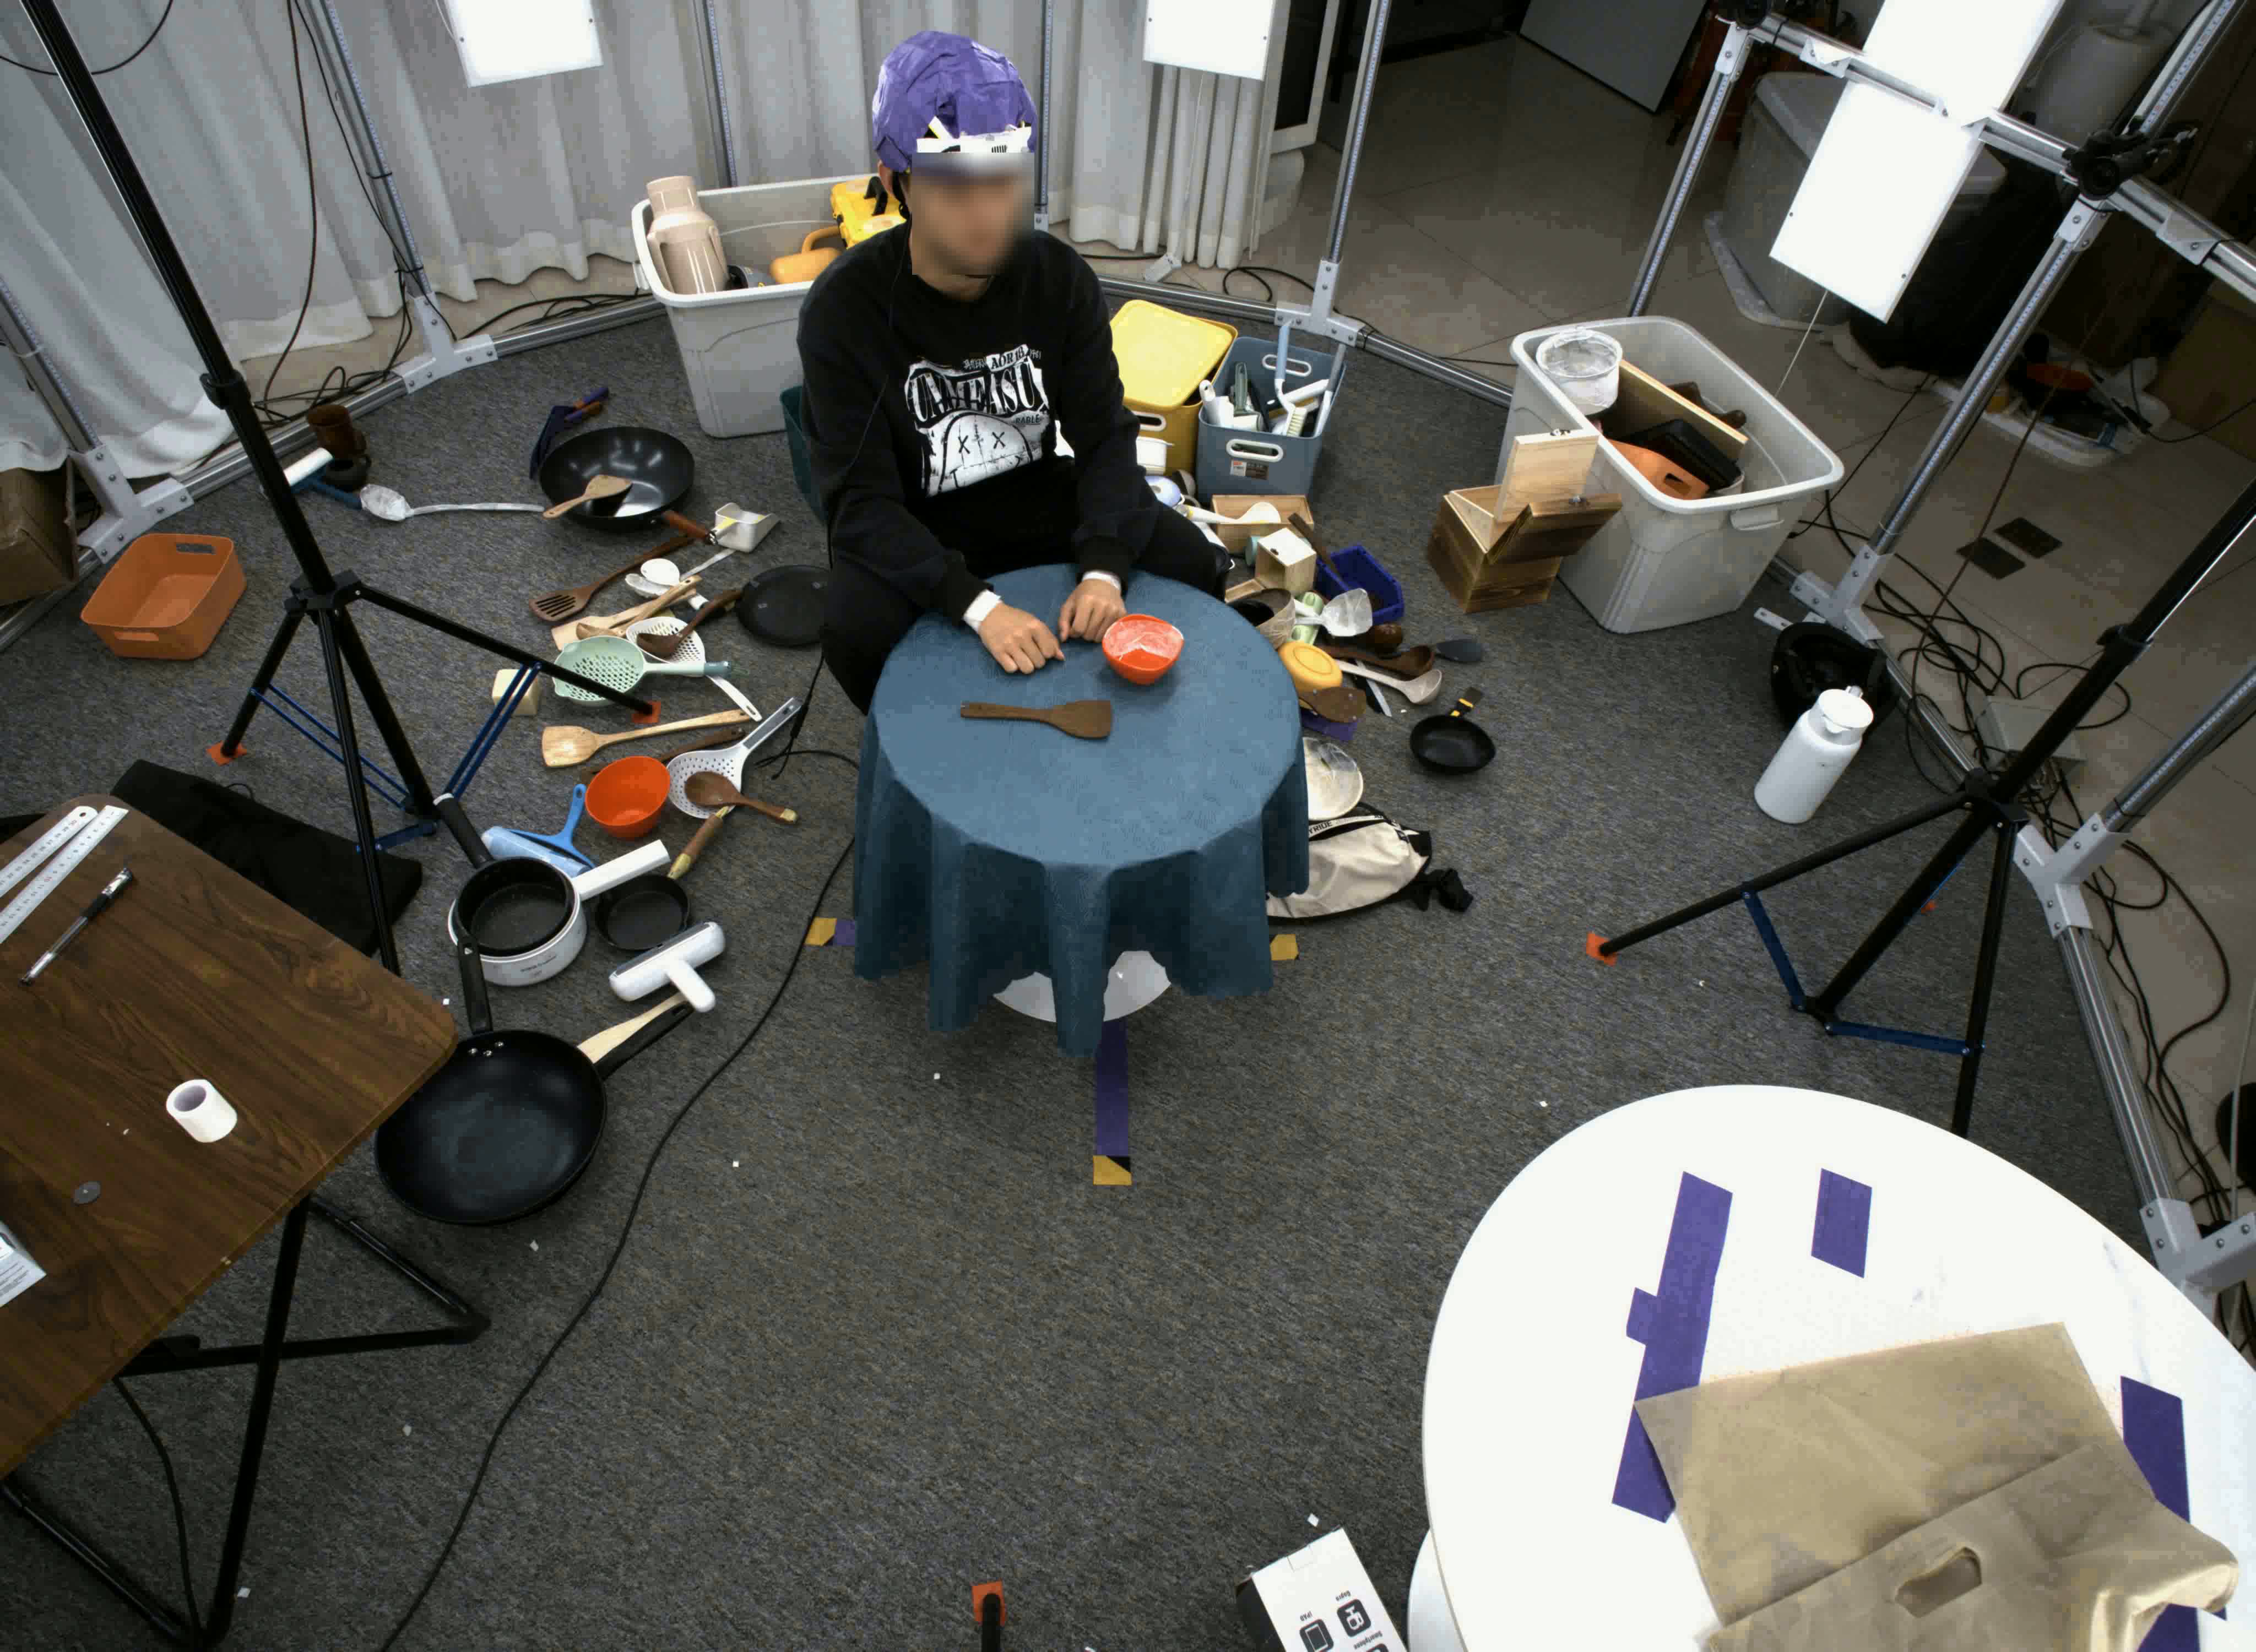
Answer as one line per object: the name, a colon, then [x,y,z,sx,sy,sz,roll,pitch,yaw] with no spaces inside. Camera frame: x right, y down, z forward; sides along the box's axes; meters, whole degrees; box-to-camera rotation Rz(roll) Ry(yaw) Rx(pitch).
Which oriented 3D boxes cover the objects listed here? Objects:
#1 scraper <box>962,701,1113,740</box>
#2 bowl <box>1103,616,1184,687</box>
scraper: [-0.127,-0.155,1.805,0.211,0.010,0.078,4,47,1]
bowl: [0.021,-0.248,1.870,0.119,0.050,0.122,2,51,-2]
